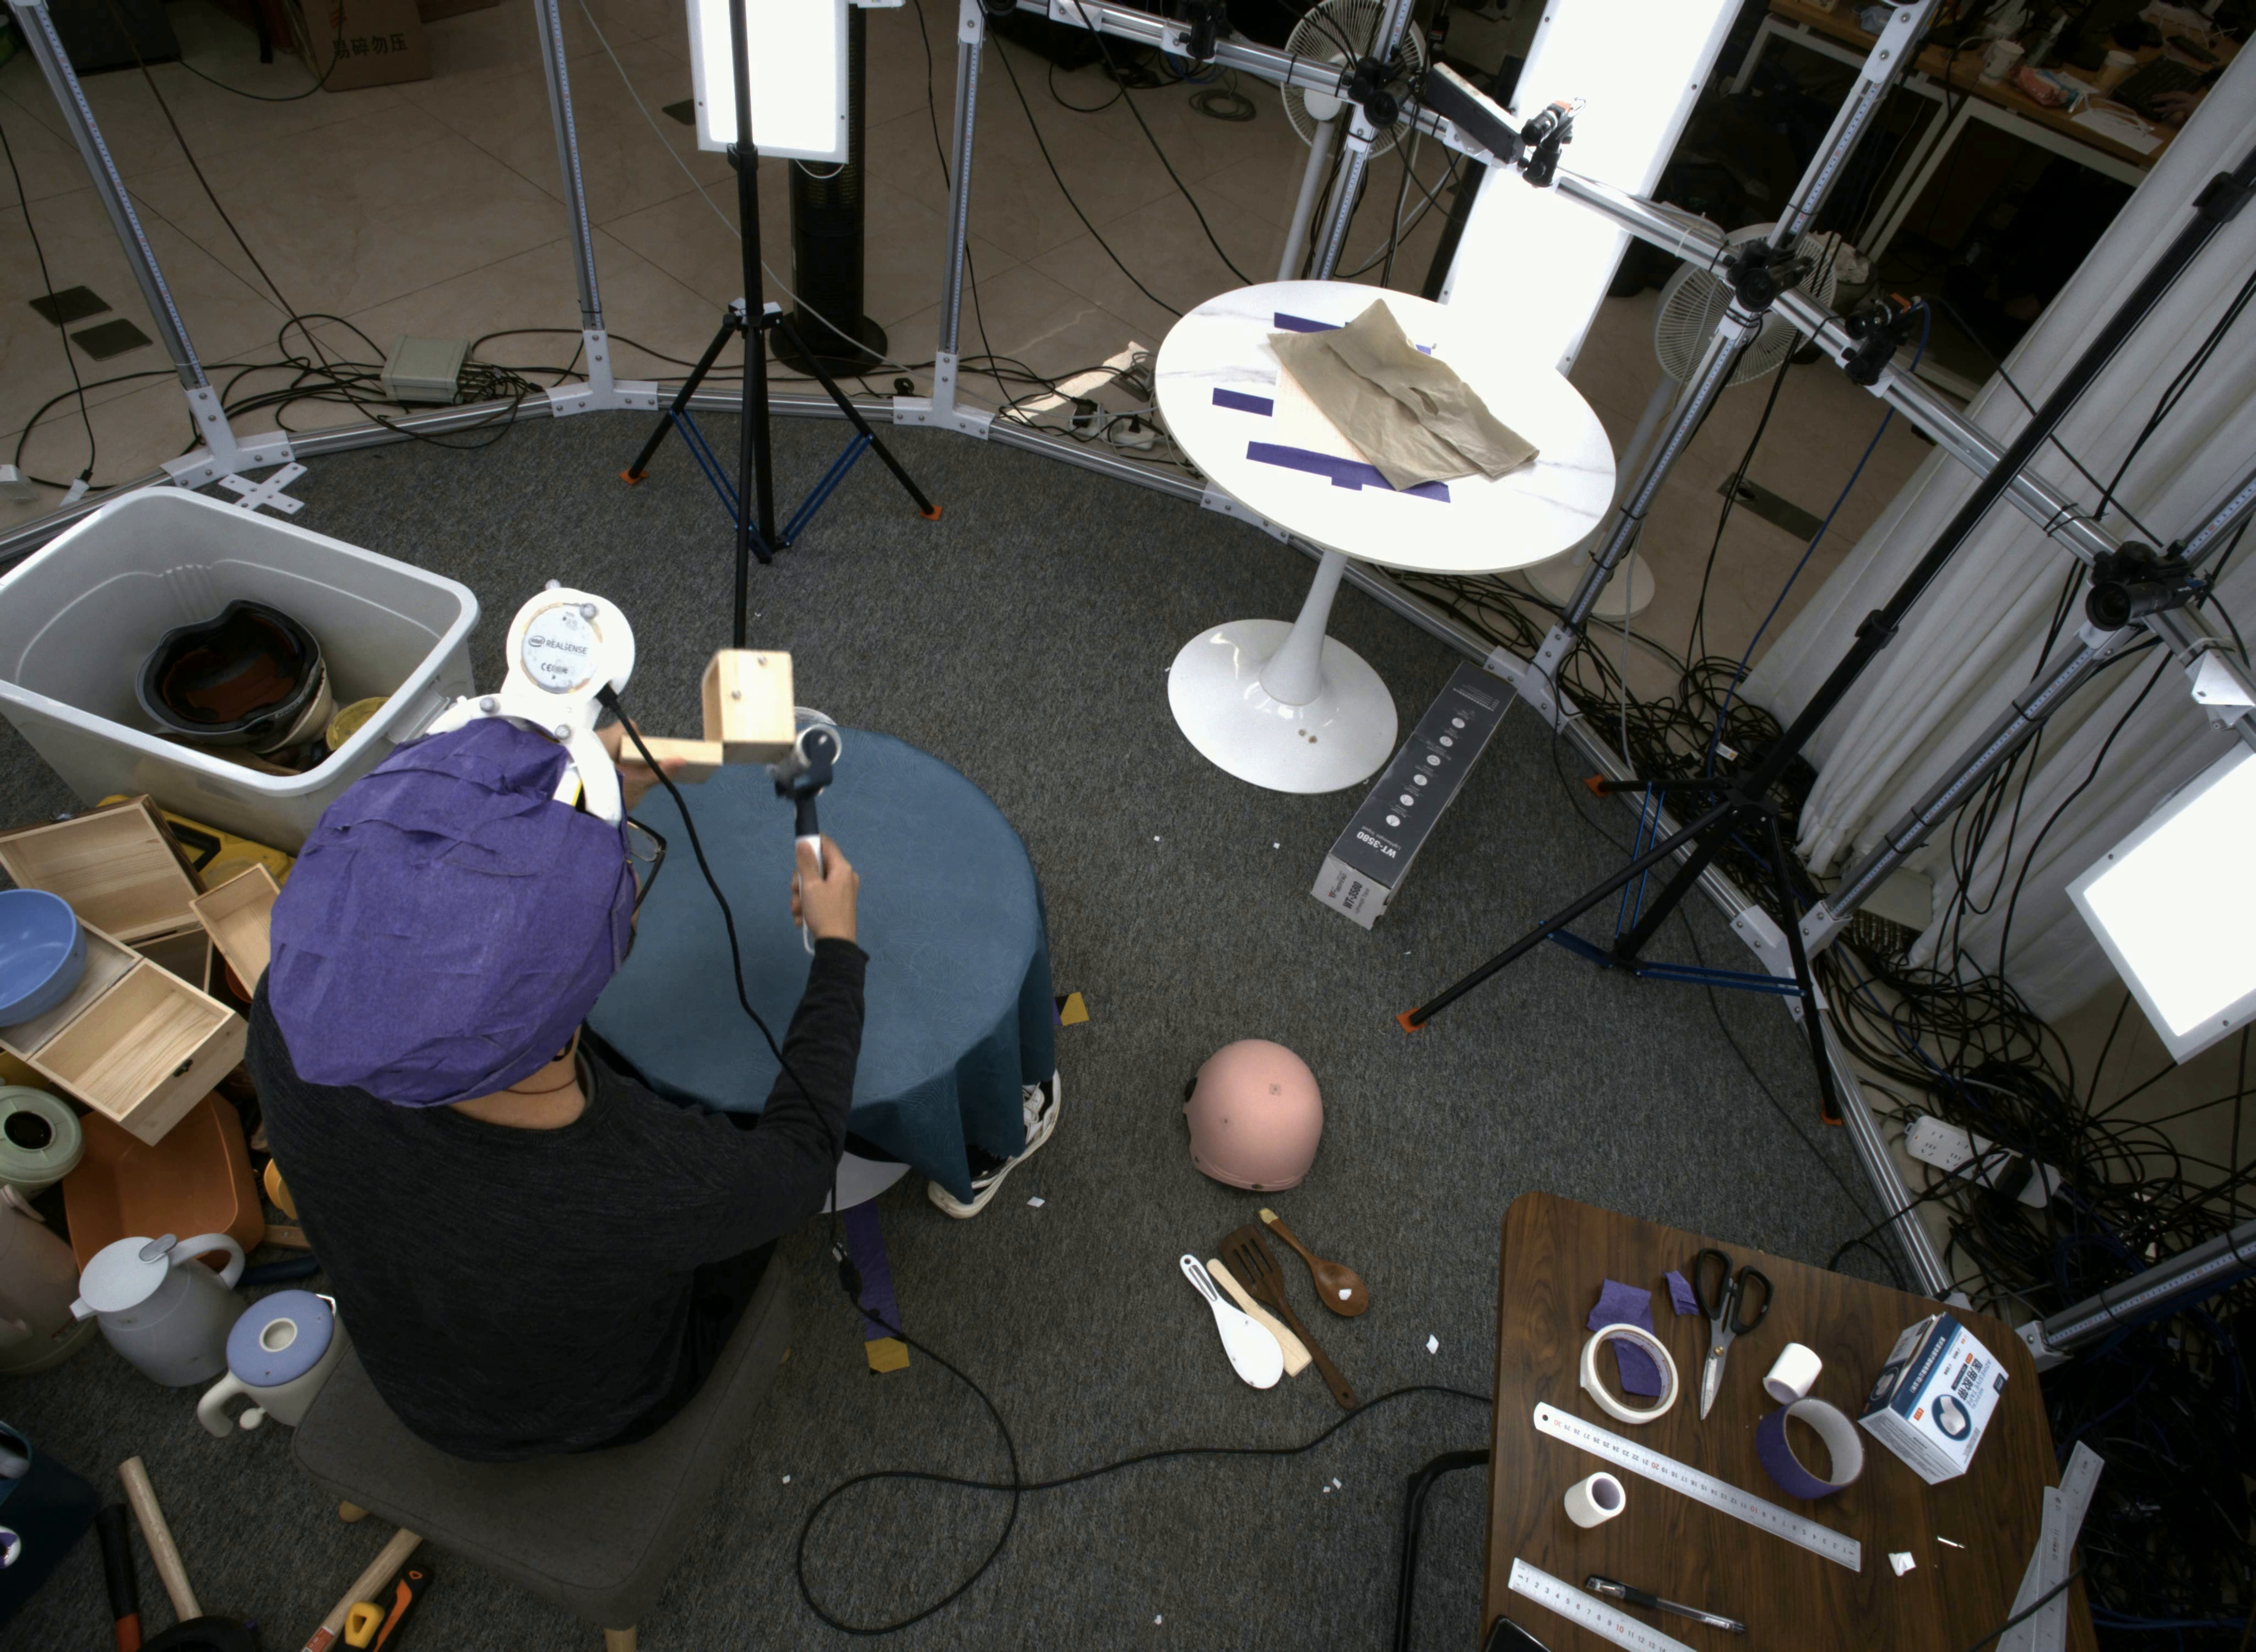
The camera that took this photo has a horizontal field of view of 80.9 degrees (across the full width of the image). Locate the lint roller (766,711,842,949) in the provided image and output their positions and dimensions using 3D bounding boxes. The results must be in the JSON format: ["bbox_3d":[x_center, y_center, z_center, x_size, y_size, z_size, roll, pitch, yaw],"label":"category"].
[{"bbox_3d":[-0.355,0.009,1.439,0.051,0.172,0.250,-6,91,-29],"label":"lint roller"}]

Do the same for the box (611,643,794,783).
[{"bbox_3d":[-0.459,-0.122,1.369,0.187,0.101,0.134,-1,80,-30],"label":"box"}]
